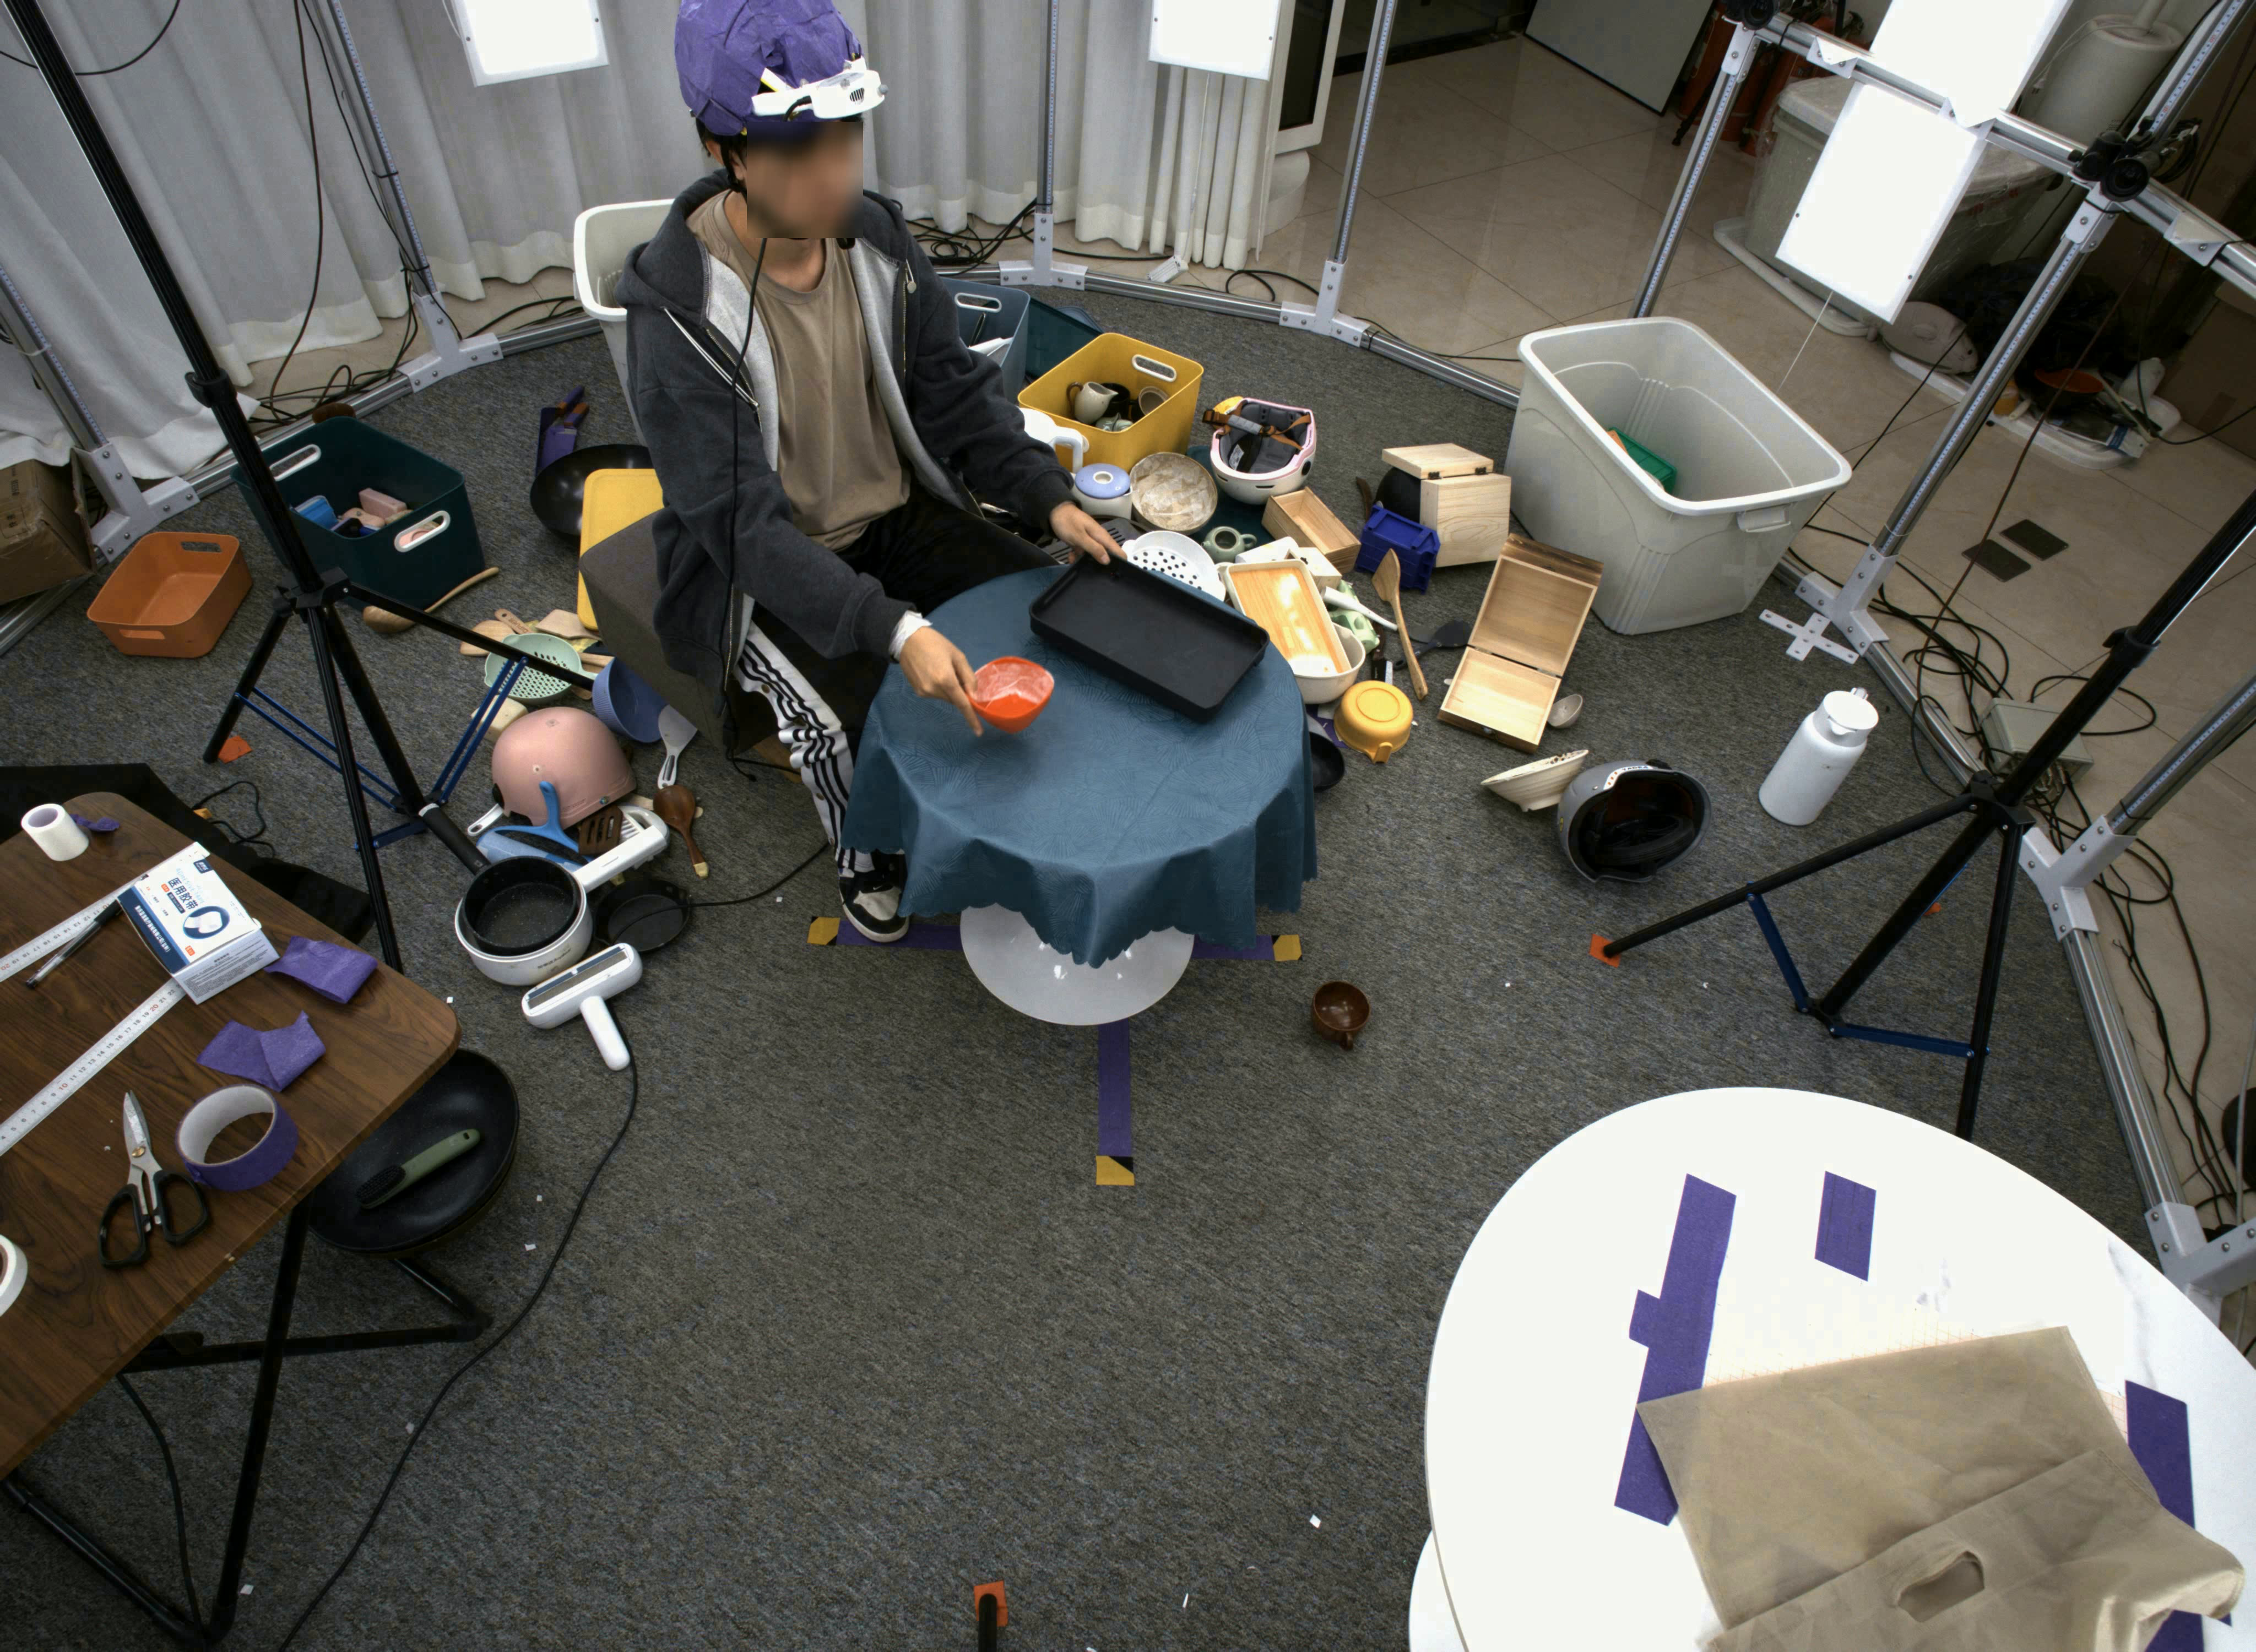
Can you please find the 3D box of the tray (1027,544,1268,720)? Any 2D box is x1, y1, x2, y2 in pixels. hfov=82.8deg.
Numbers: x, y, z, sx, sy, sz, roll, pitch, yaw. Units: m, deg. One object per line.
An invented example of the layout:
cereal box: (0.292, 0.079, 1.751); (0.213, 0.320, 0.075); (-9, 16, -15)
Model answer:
tray: (0.027, -0.285, 1.859); (0.321, 0.036, 0.187); (30, 56, 16)

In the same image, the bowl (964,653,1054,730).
bowl: (-0.156, -0.173, 1.710); (0.119, 0.050, 0.122); (-1, 49, 1)
